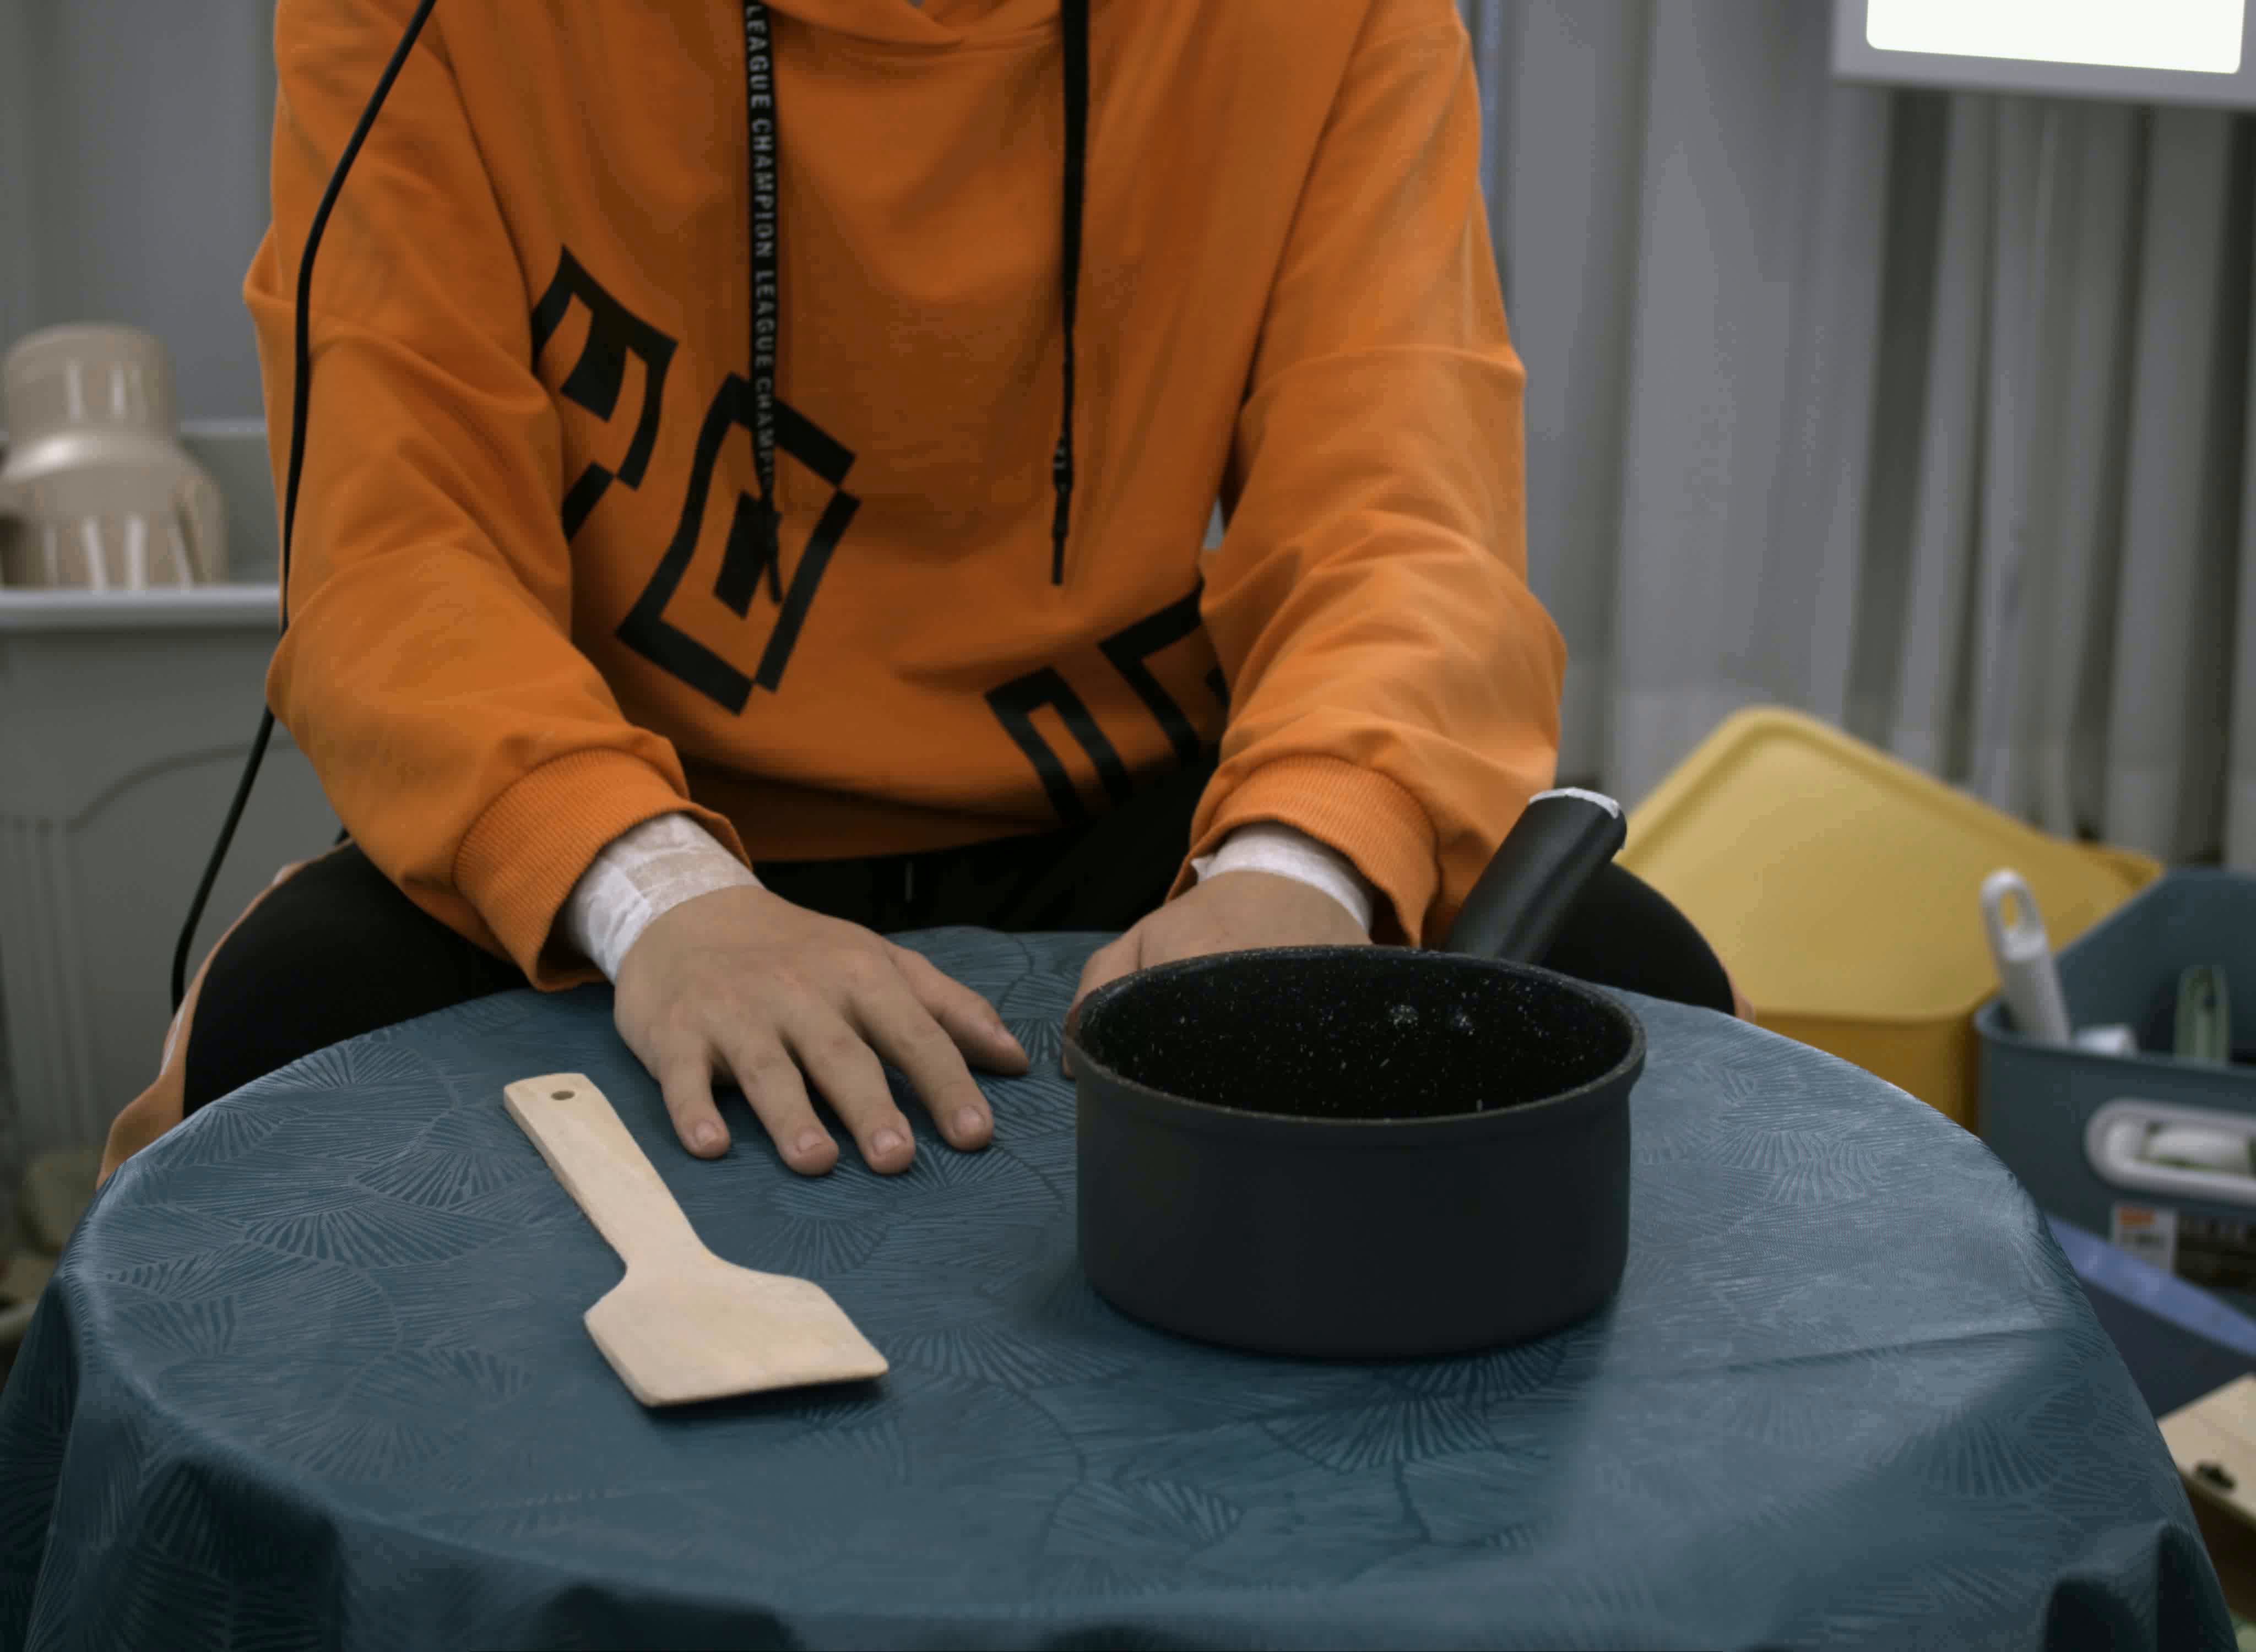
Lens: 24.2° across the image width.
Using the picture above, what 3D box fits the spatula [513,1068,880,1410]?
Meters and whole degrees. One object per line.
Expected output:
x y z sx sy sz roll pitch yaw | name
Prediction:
-0.145 0.120 1.575 0.072 0.011 0.290 -8 17 -16 | spatula

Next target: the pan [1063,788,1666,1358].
0.097 0.071 1.616 0.170 0.087 0.329 8 19 22 | pan
